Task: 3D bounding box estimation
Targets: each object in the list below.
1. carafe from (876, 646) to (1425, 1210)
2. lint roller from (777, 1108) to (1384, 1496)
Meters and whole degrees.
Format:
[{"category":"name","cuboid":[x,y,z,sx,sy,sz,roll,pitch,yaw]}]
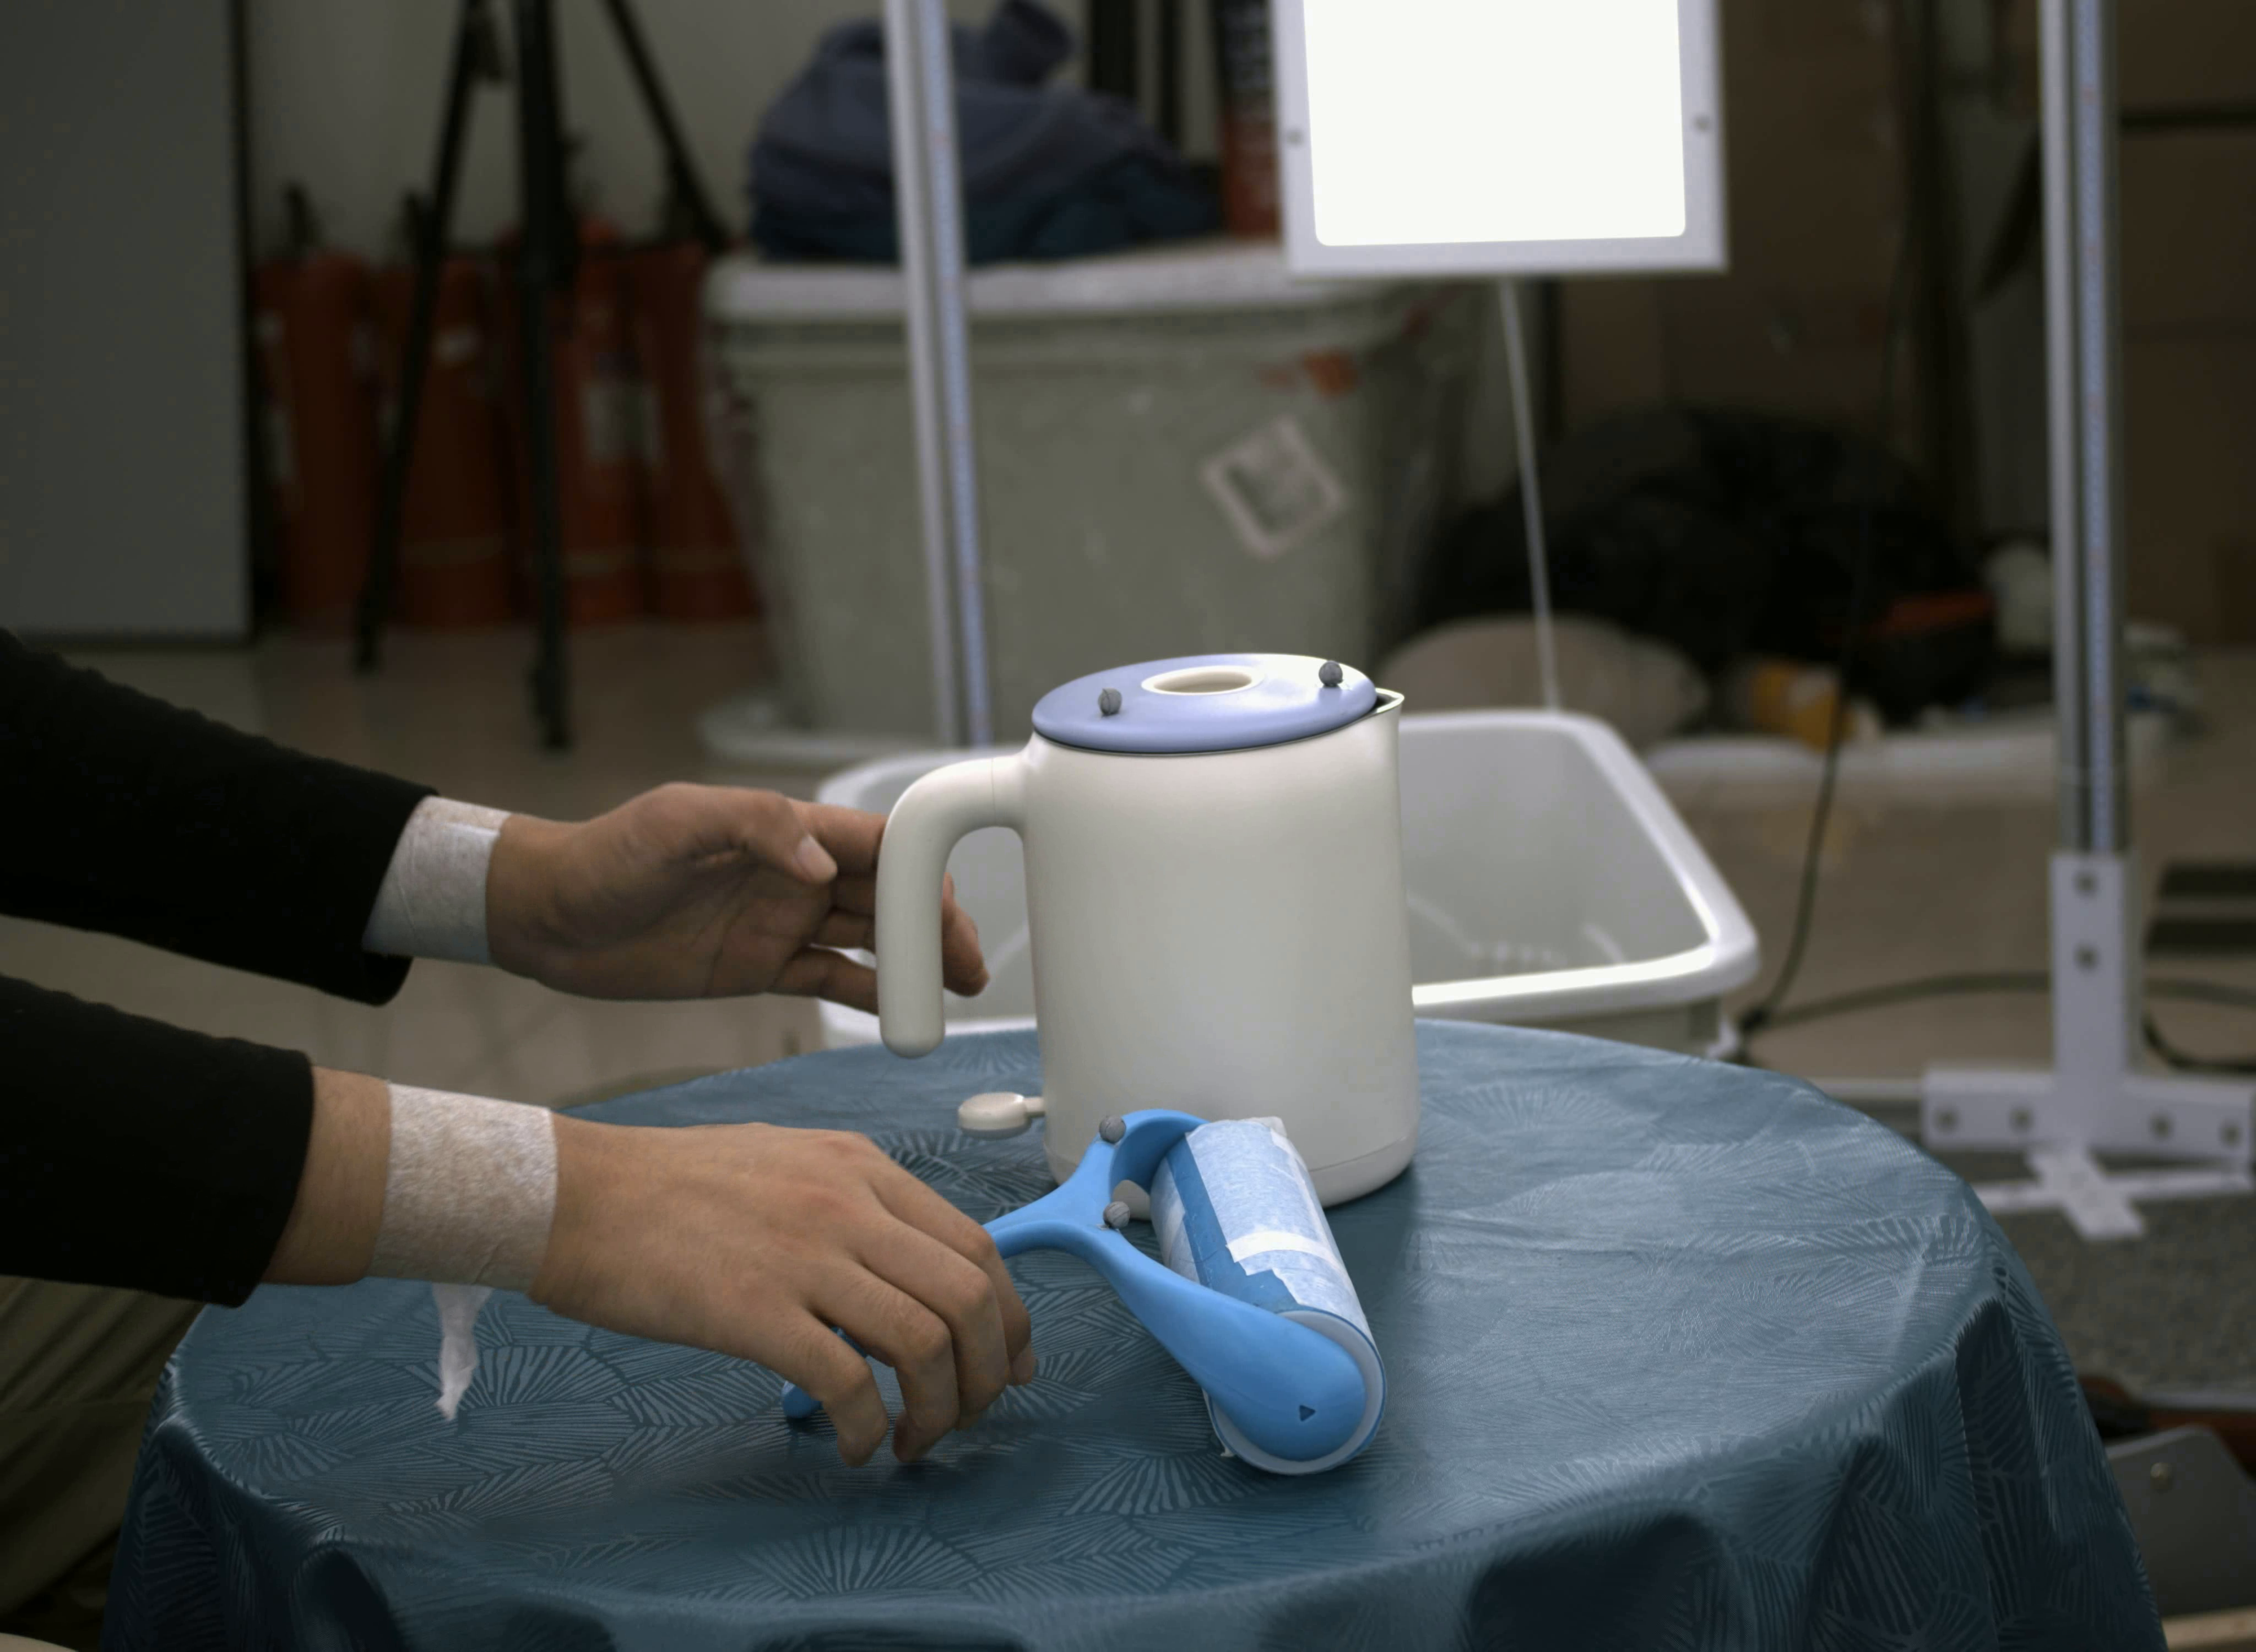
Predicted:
[{"category":"carafe","cuboid":[0.007,0.039,1.890,0.191,0.183,0.132,-7,13,1]},{"category":"lint roller","cuboid":[-0.018,0.146,1.701,0.179,0.068,0.229,-1,16,-6]}]
